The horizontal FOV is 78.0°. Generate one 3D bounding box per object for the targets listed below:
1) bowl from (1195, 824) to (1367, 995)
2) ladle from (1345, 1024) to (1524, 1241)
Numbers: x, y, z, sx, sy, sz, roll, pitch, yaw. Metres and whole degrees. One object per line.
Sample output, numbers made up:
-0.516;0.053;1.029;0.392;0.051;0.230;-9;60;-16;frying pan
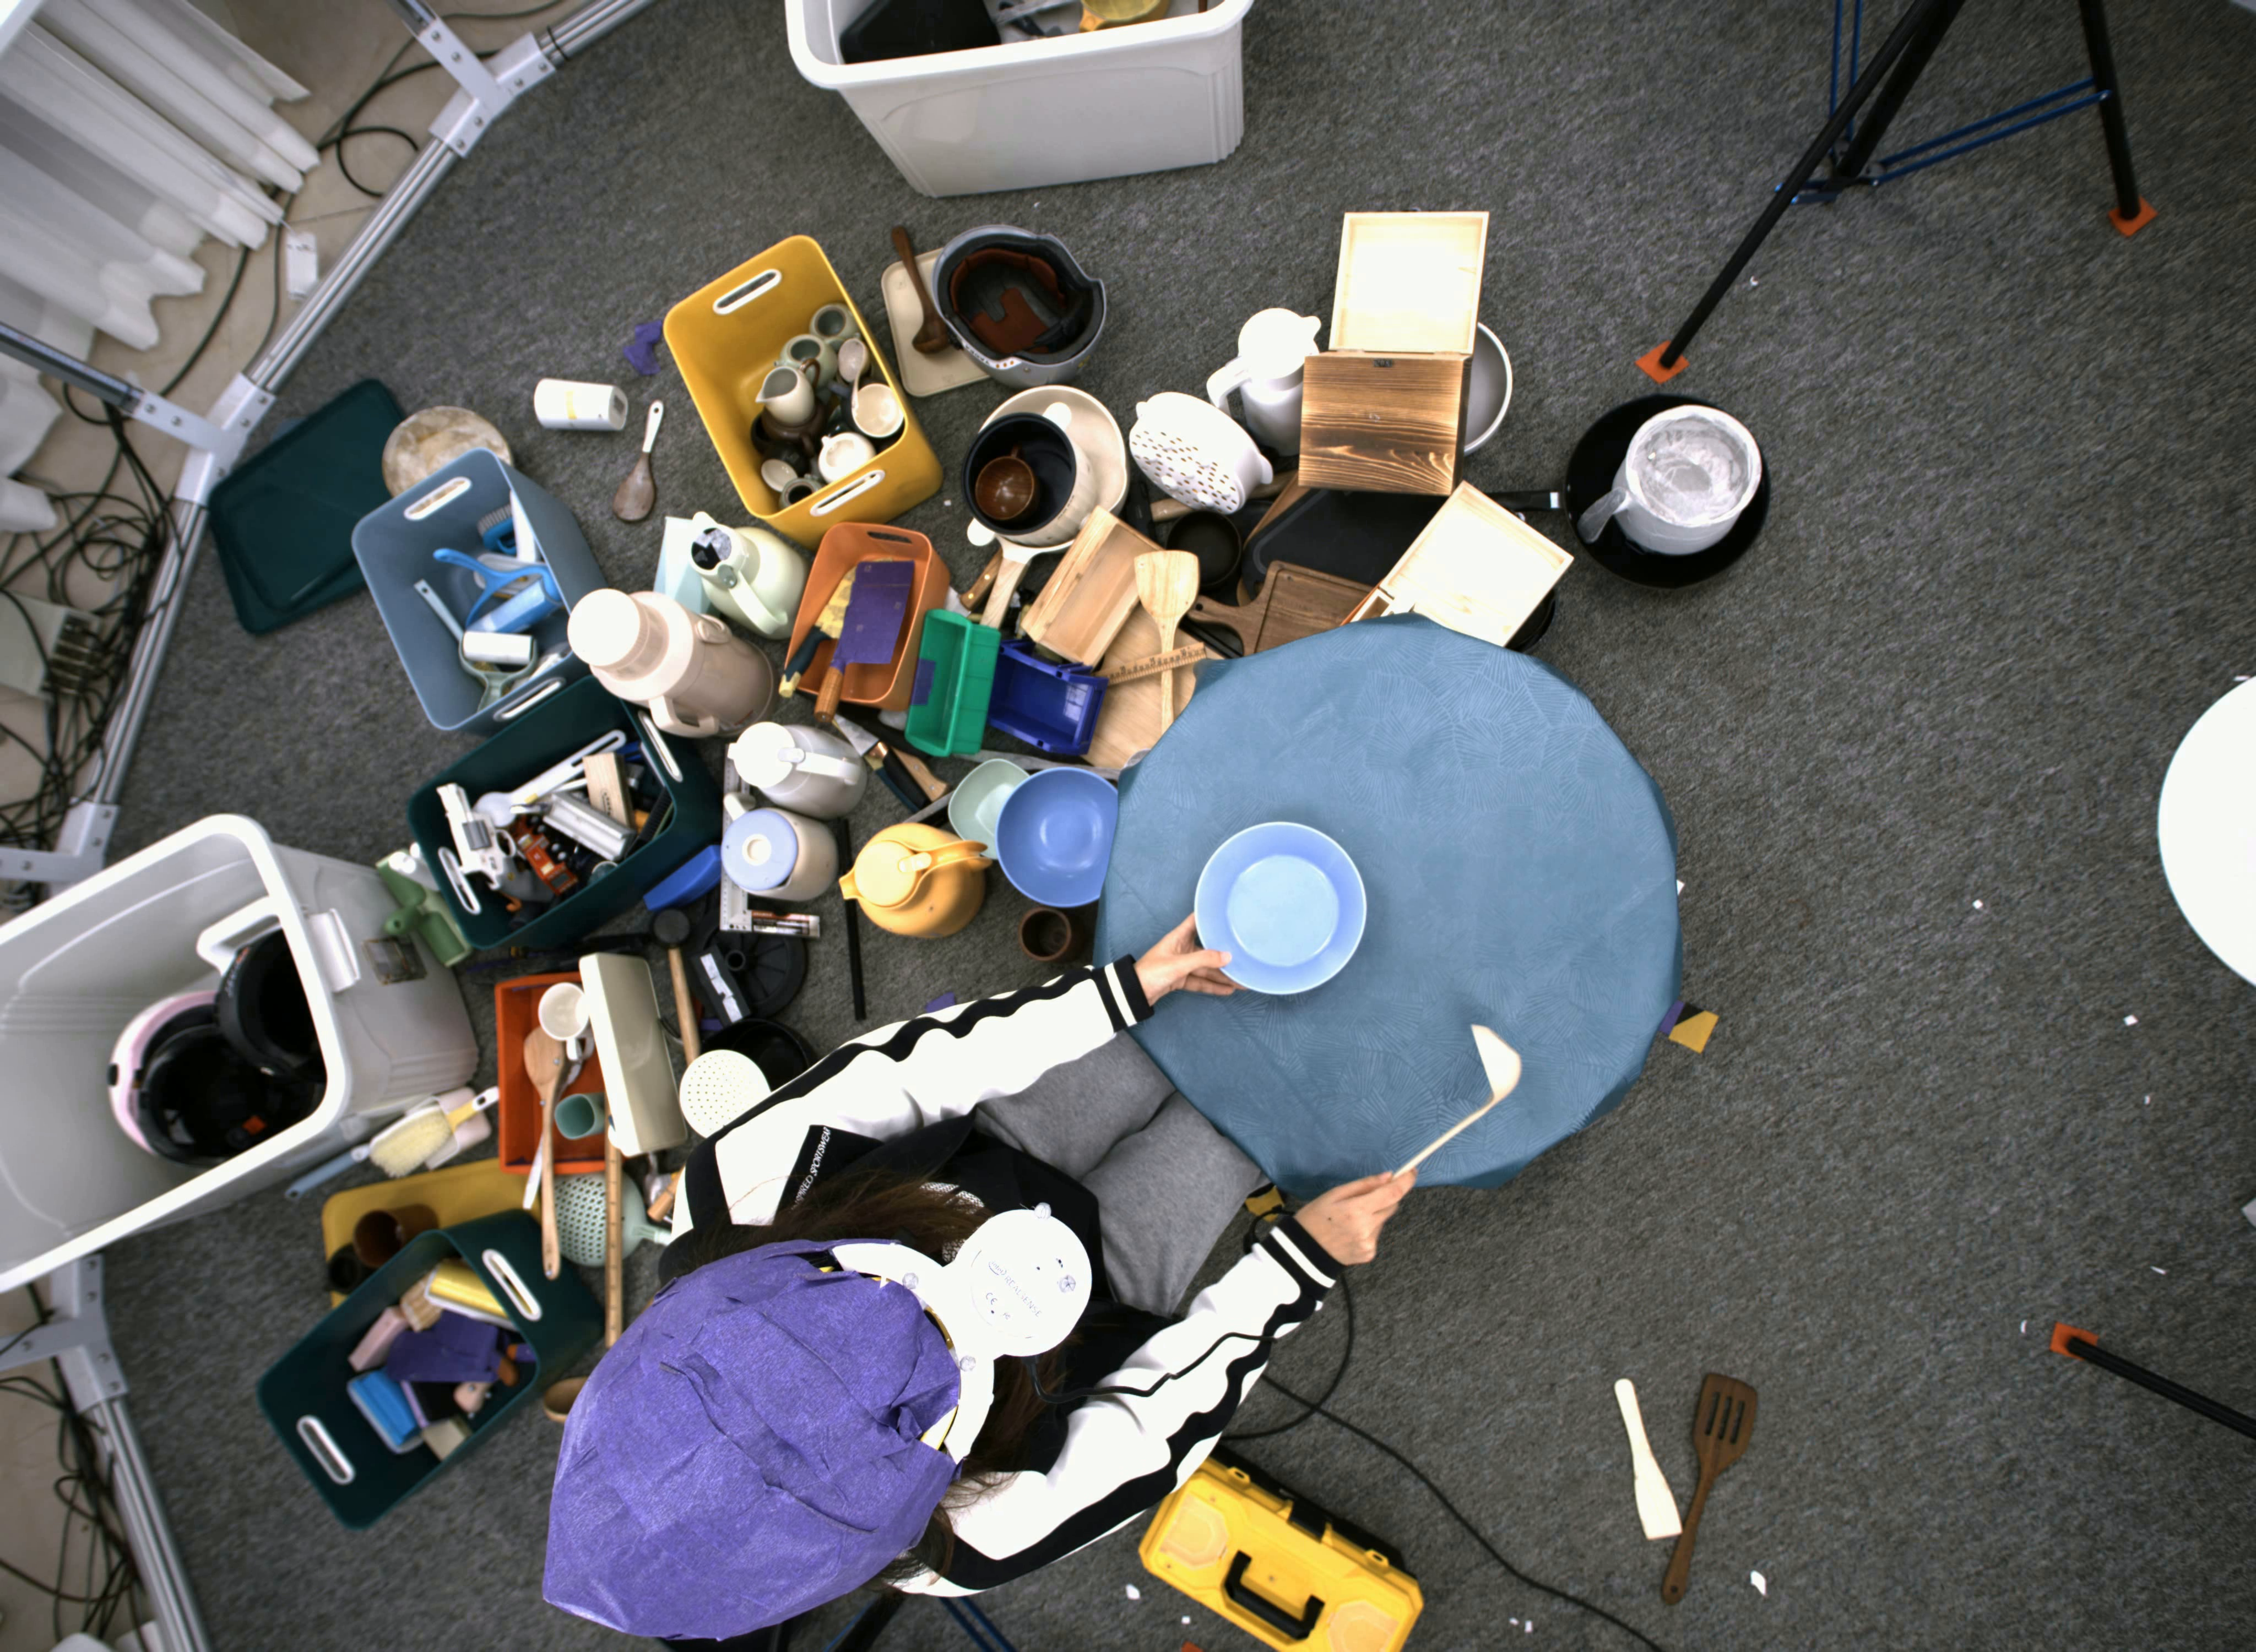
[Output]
0.161;0.088;1.444;0.177;0.070;0.175;-1;85;11;bowl
0.282;0.296;1.362;0.256;0.072;0.072;-45;79;10;ladle
